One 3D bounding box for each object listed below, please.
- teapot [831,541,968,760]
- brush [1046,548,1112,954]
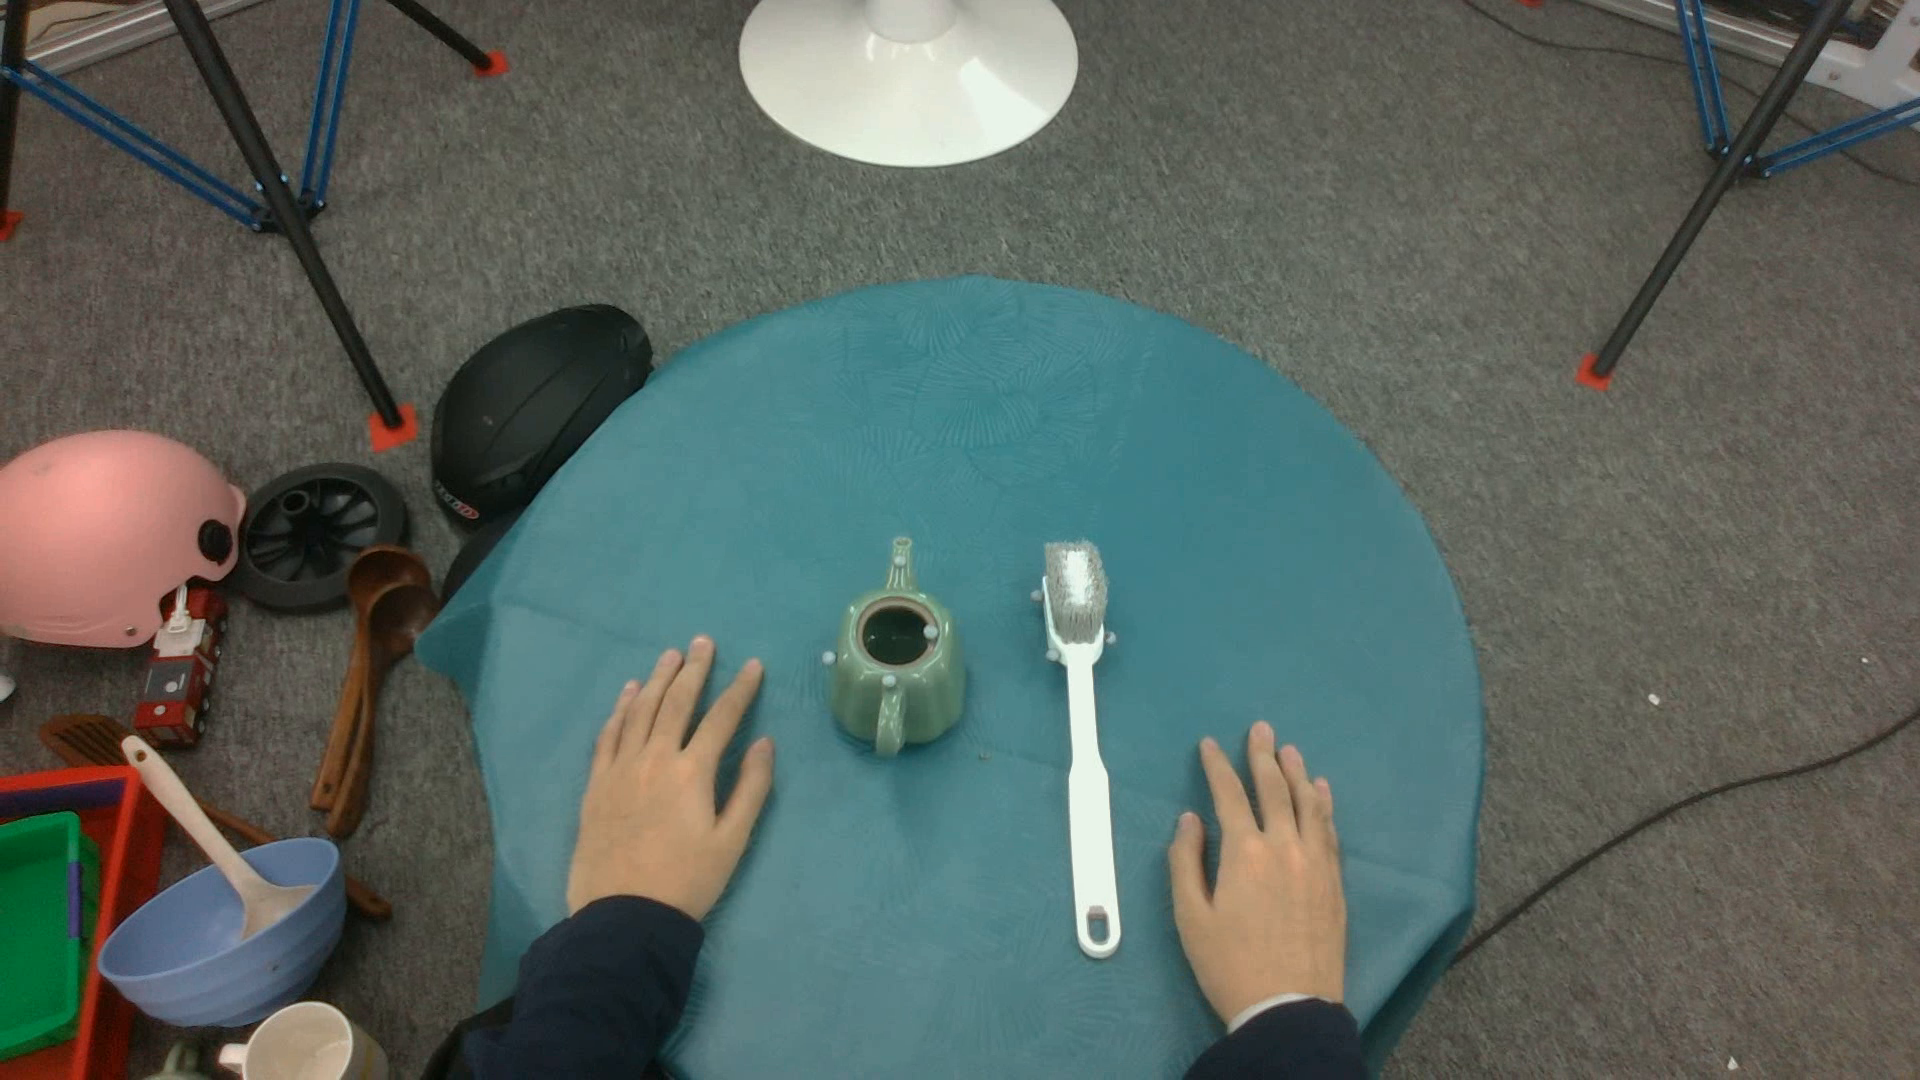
[{"bbox_3d":[-0.035,0.073,0.795,0.080,0.075,0.133,2,57,0],"label":"teapot"},{"bbox_3d":[0.071,0.110,0.790,0.034,0.050,0.244,4,56,-4],"label":"brush"}]
